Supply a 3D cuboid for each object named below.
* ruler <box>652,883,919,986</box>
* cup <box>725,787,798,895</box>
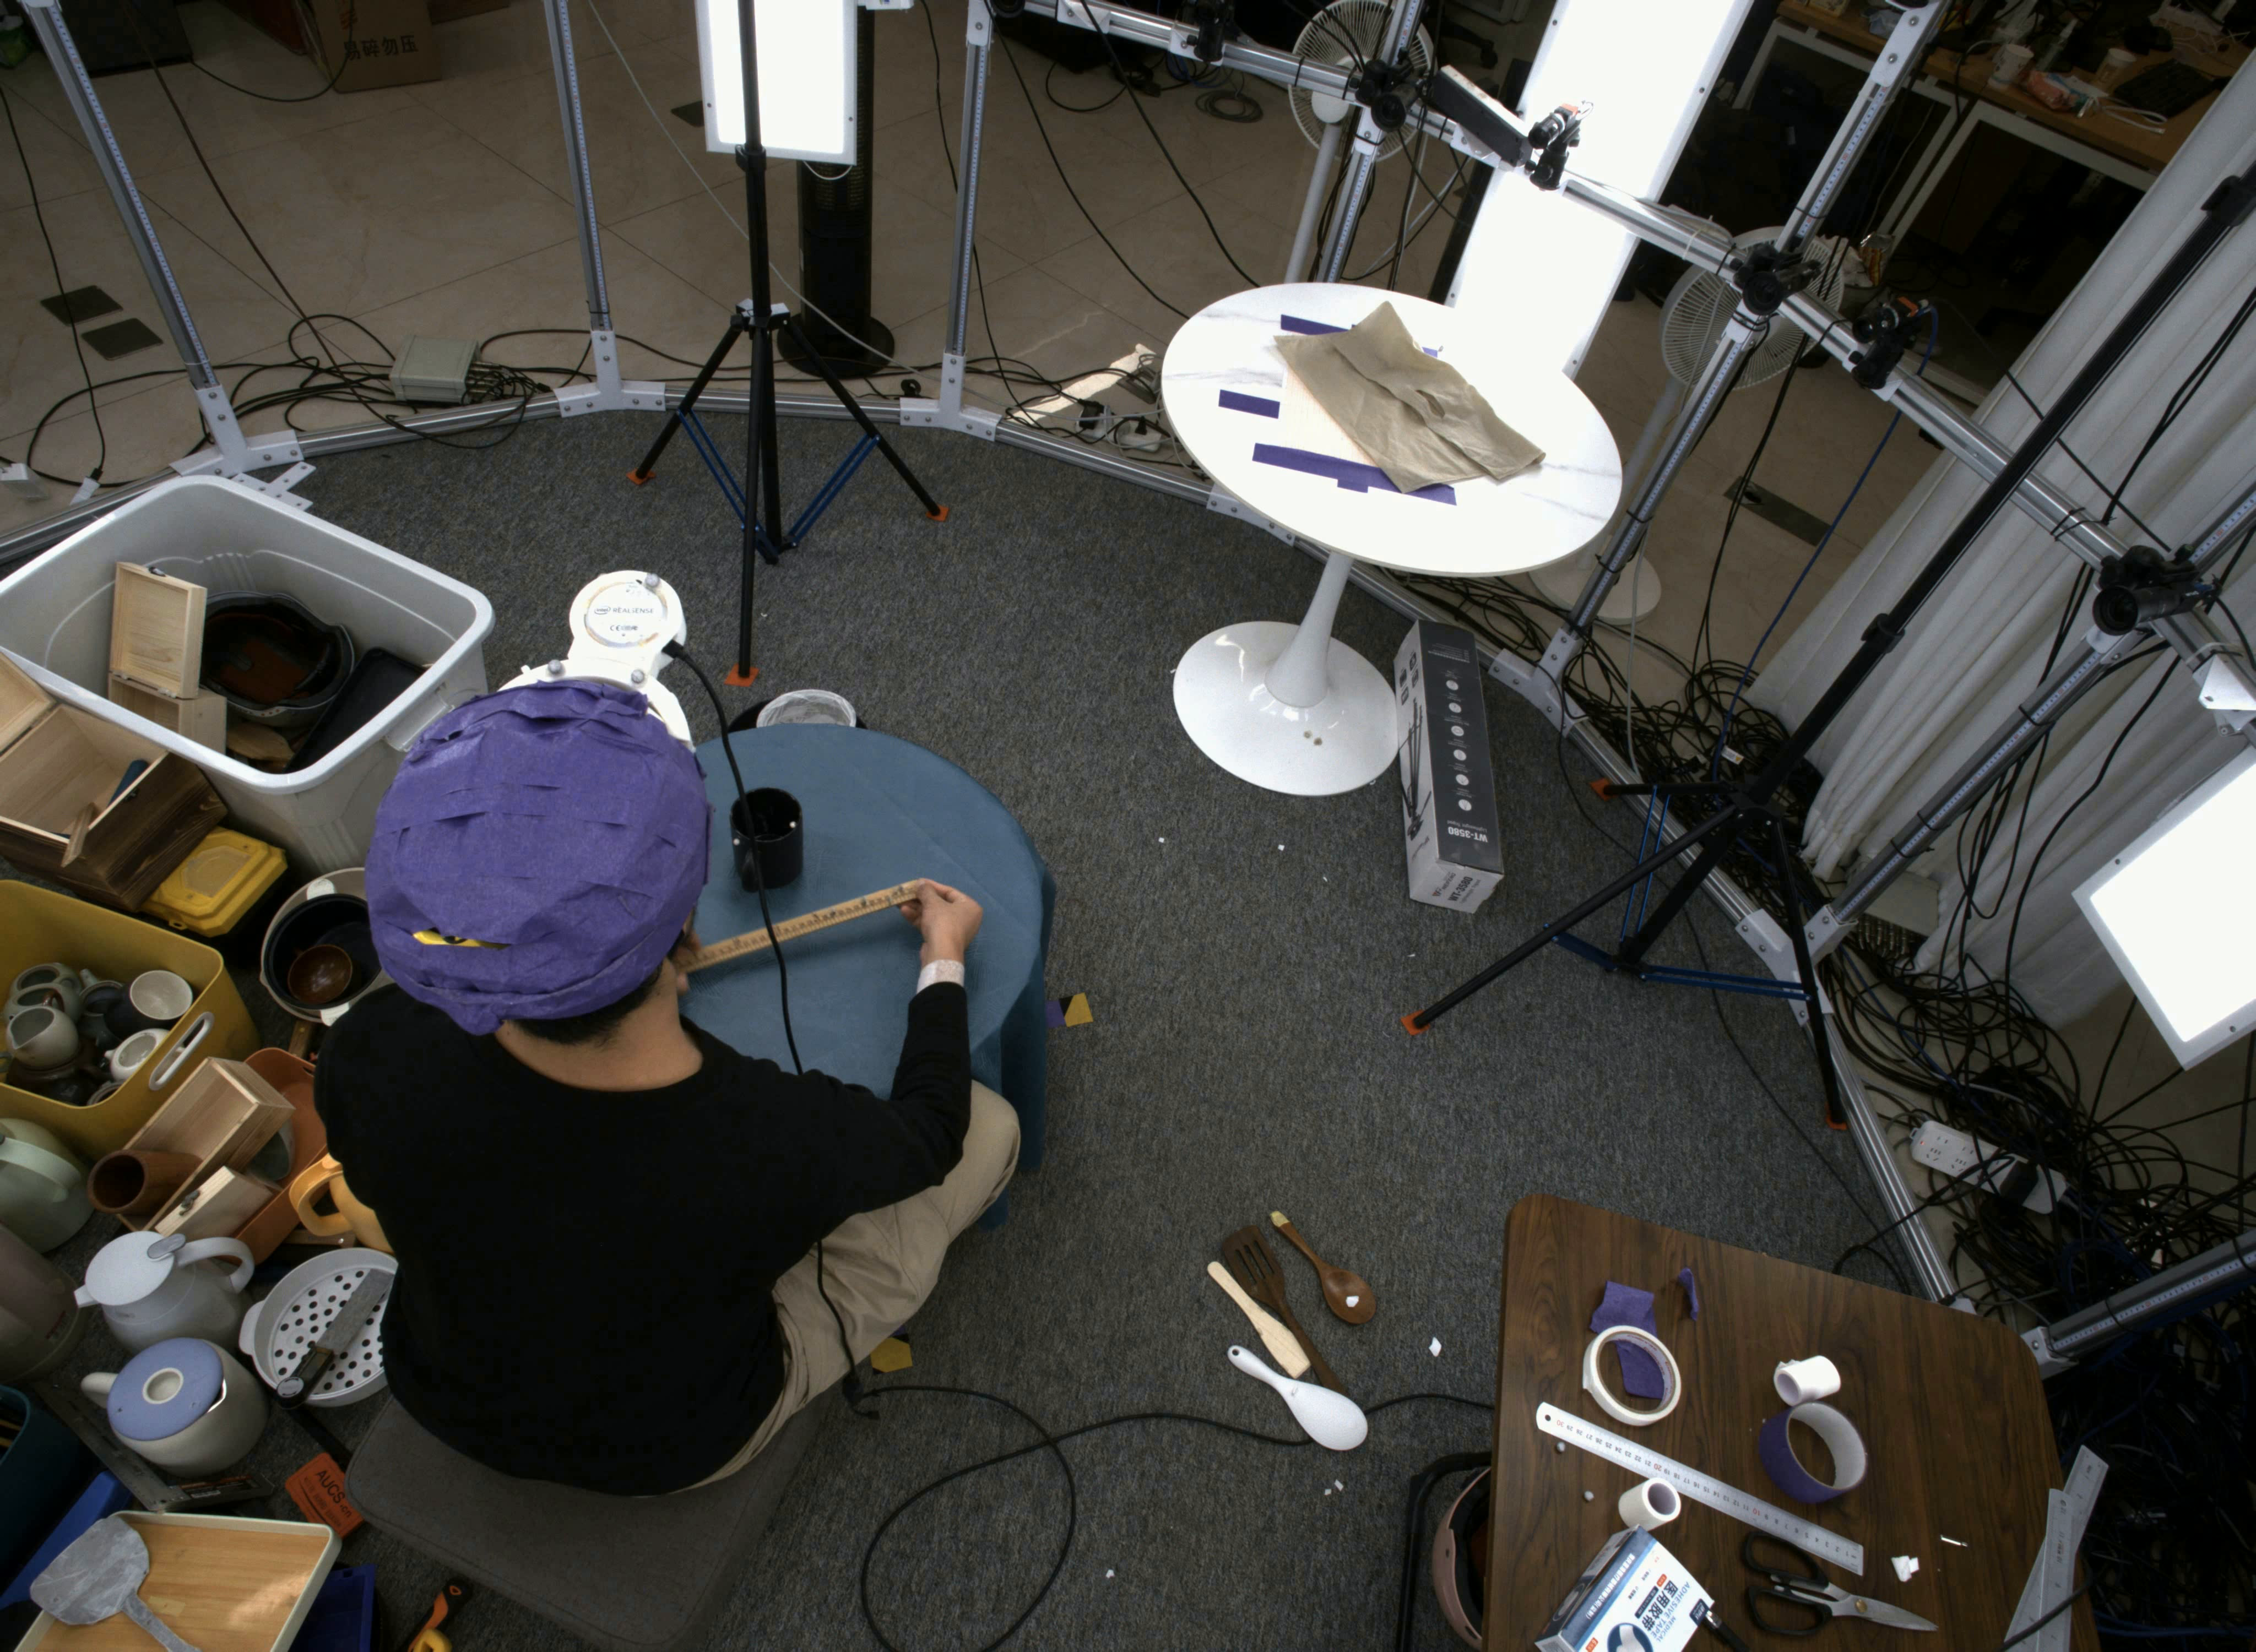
[{"bbox_3d":[-0.416,0.126,1.582,0.332,0.023,0.027,-18,58,-19],"label":"ruler"},{"bbox_3d":[-0.464,0.029,1.621,0.088,0.107,0.122,15,52,-3],"label":"cup"}]
